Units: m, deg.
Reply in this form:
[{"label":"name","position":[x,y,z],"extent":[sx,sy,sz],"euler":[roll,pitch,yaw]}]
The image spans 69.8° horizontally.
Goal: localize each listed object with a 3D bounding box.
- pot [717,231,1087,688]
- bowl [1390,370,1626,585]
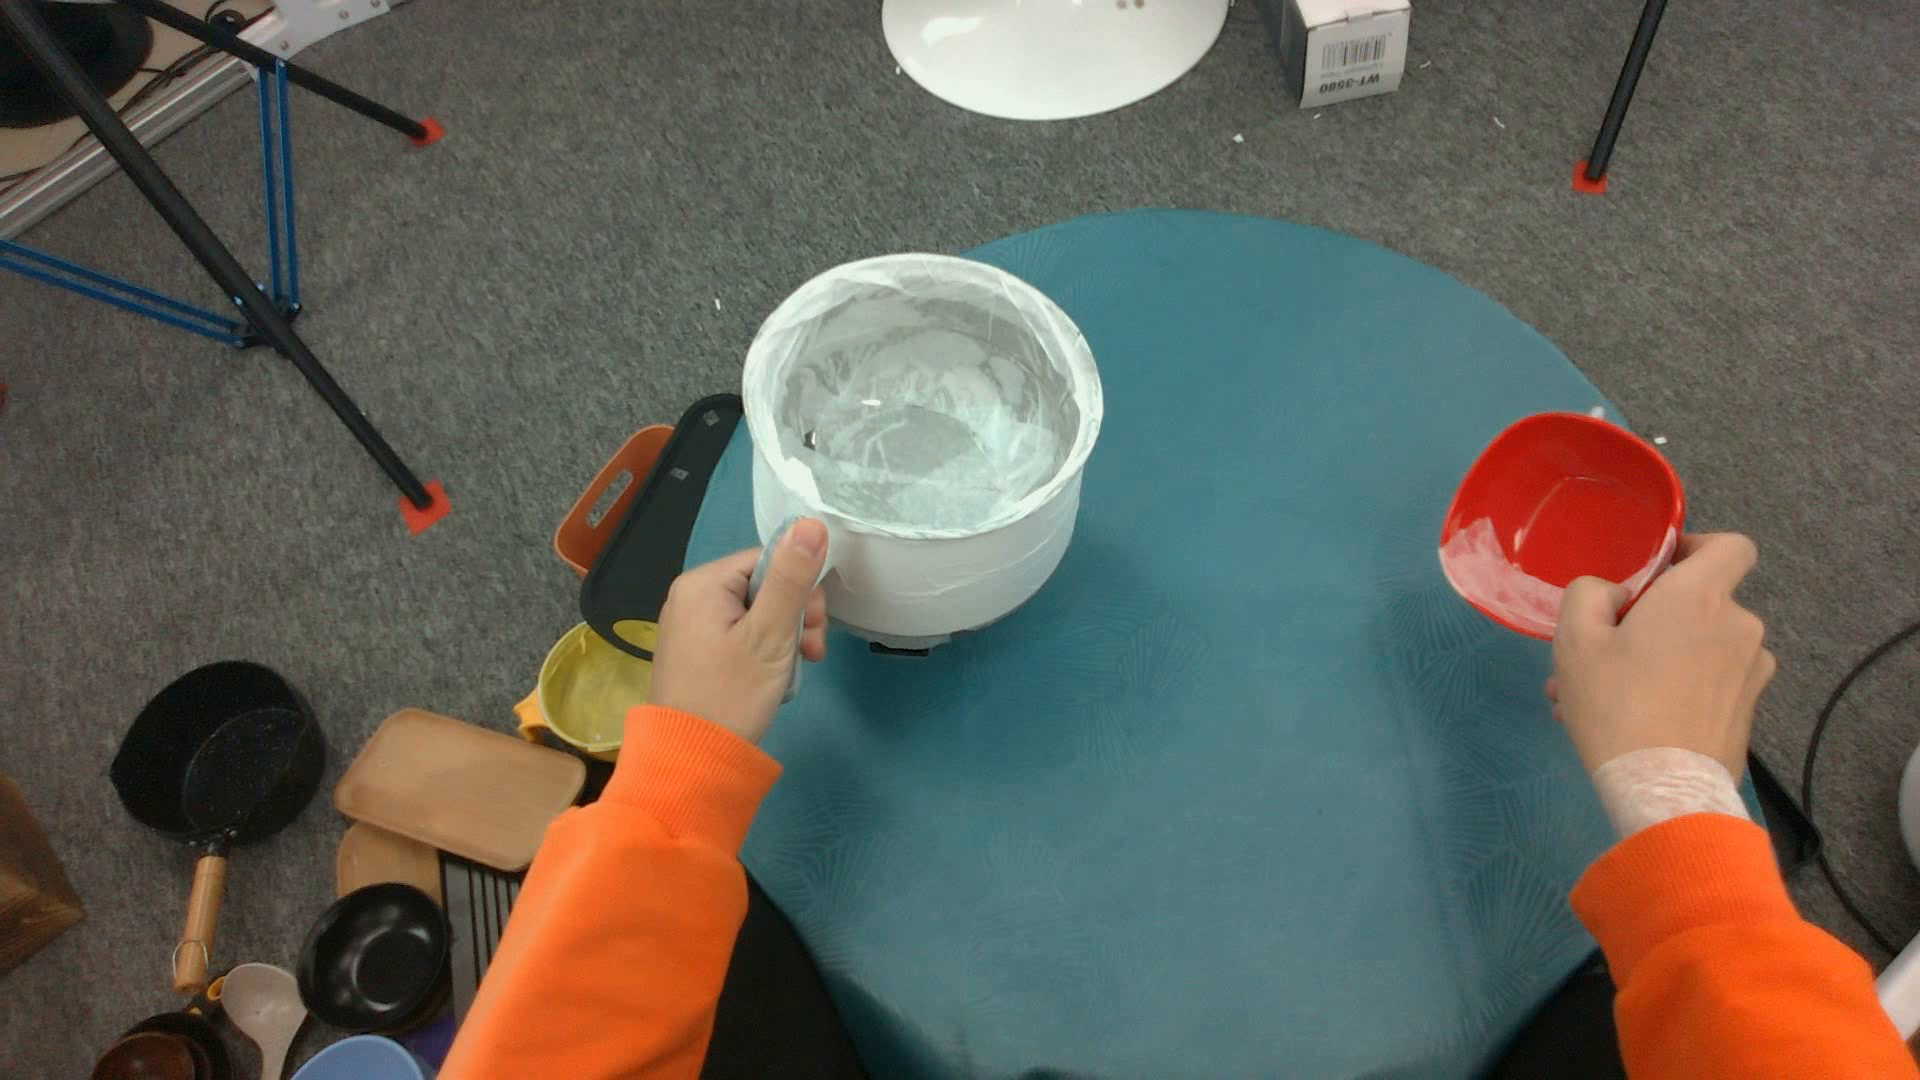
[{"label":"pot","position":[-0.044,-0.033,0.713],"extent":[0.179,0.136,0.235],"euler":[29,61,13]},{"label":"bowl","position":[0.285,-0.023,0.700],"extent":[0.118,0.051,0.119],"euler":[-31,40,30]}]
